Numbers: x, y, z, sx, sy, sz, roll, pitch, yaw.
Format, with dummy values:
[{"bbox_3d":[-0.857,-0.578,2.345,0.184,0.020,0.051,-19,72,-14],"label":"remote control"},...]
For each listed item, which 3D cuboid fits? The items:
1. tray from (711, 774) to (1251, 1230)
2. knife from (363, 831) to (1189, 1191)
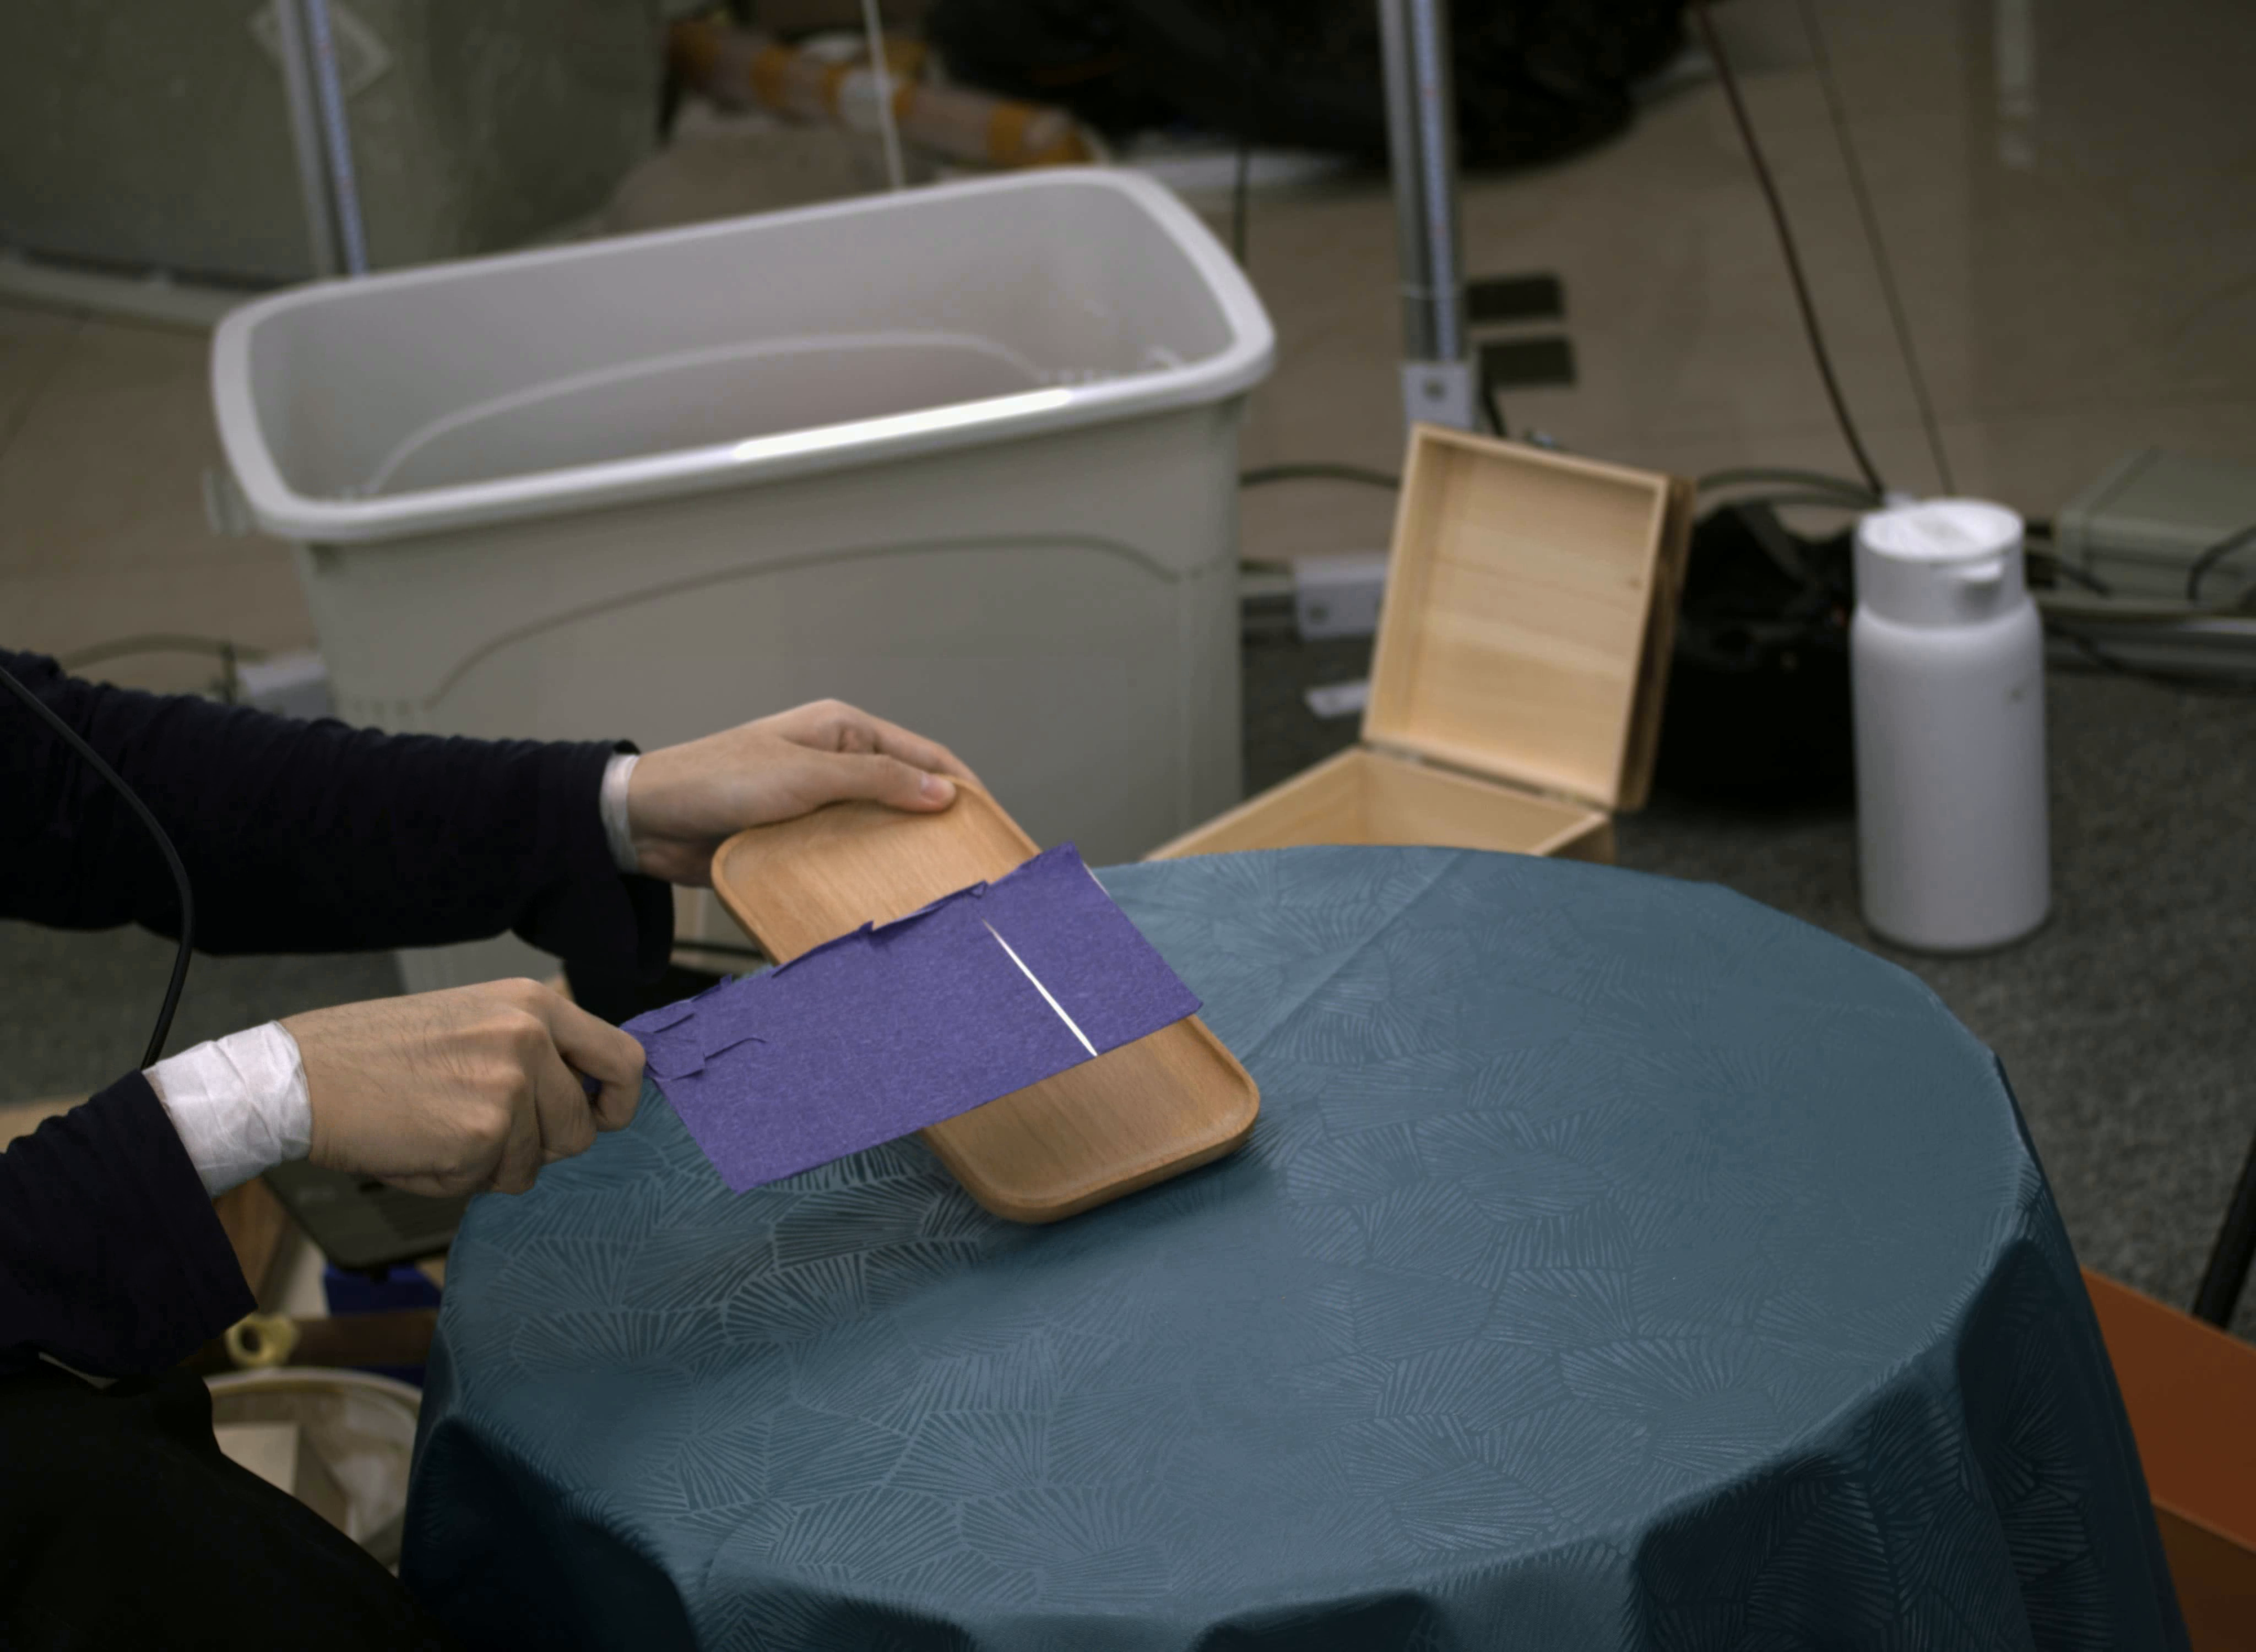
[{"bbox_3d":[-0.060,0.067,2.221,0.130,0.023,0.247,-20,47,-23],"label":"tray"},{"bbox_3d":[-0.123,0.083,2.083,0.313,0.033,0.102,-23,53,-26],"label":"knife"}]
